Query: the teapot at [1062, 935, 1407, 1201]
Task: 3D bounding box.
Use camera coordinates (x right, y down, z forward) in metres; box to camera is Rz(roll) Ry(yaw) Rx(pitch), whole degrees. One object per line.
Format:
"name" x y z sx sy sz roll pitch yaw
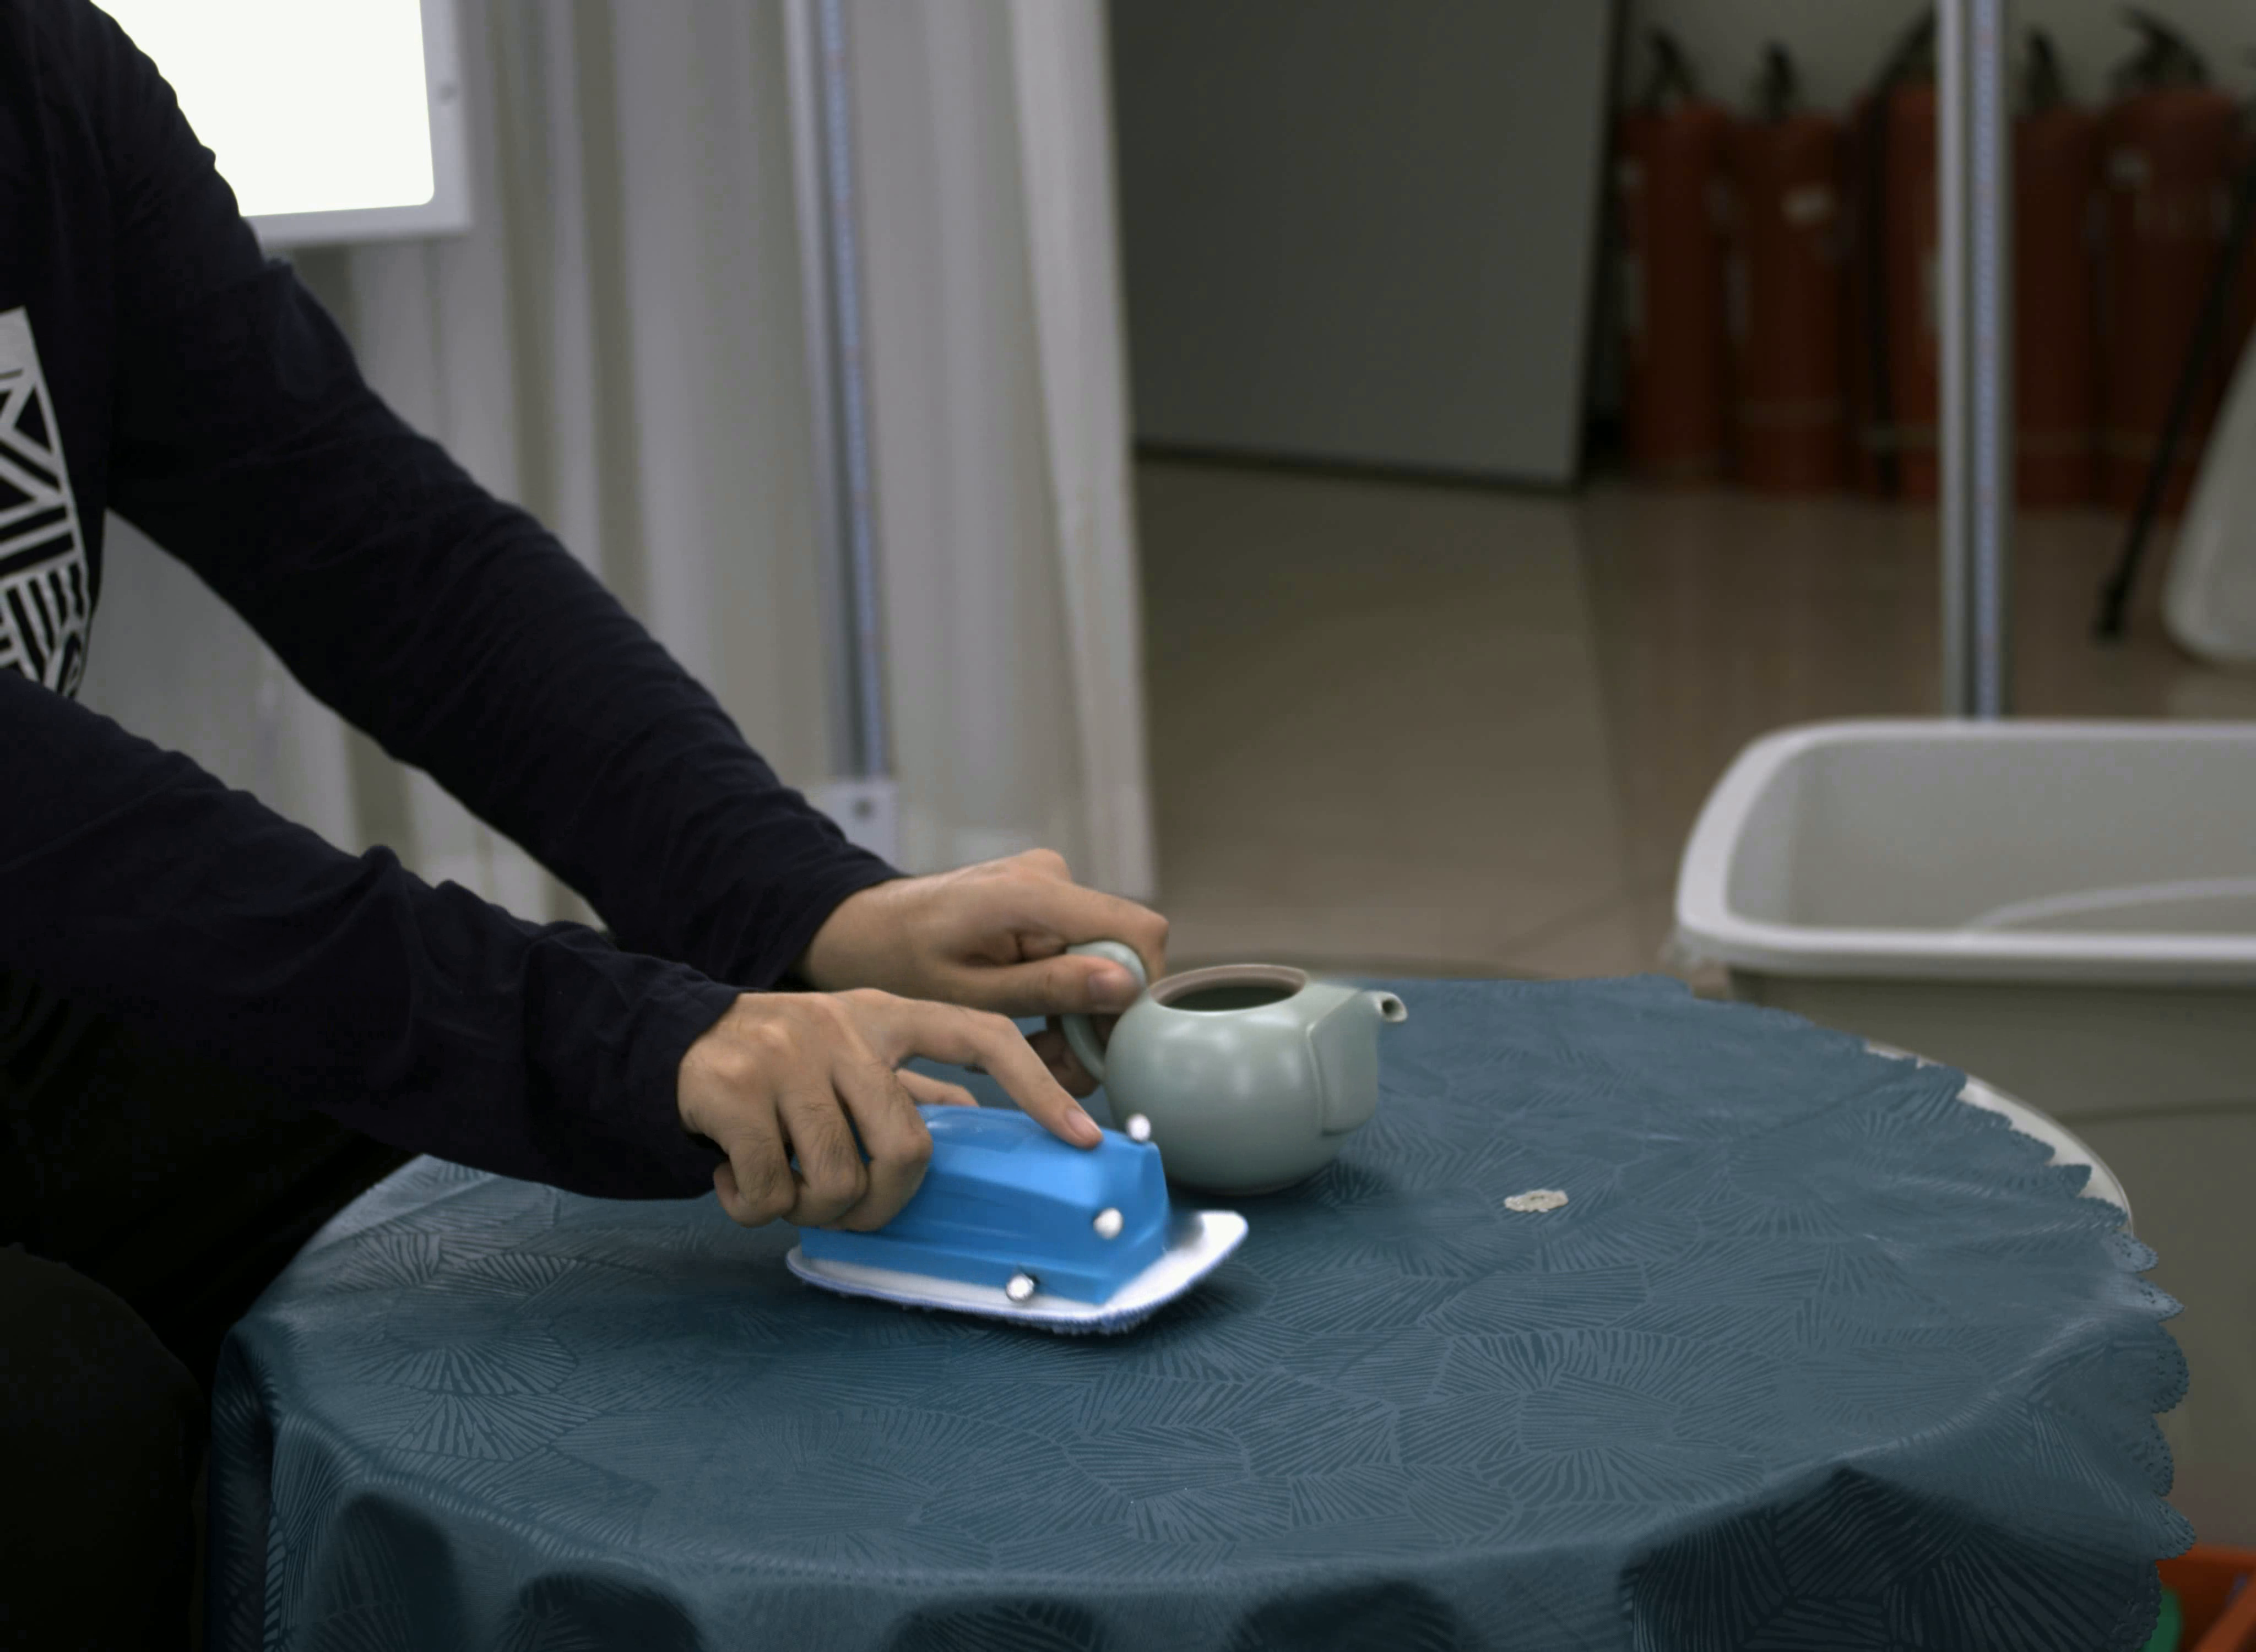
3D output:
"teapot" 0.035 0.082 1.772 0.145 0.075 0.086 12 22 42

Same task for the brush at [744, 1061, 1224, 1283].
"brush" -0.044 0.106 1.672 0.144 0.056 0.082 7 17 29
